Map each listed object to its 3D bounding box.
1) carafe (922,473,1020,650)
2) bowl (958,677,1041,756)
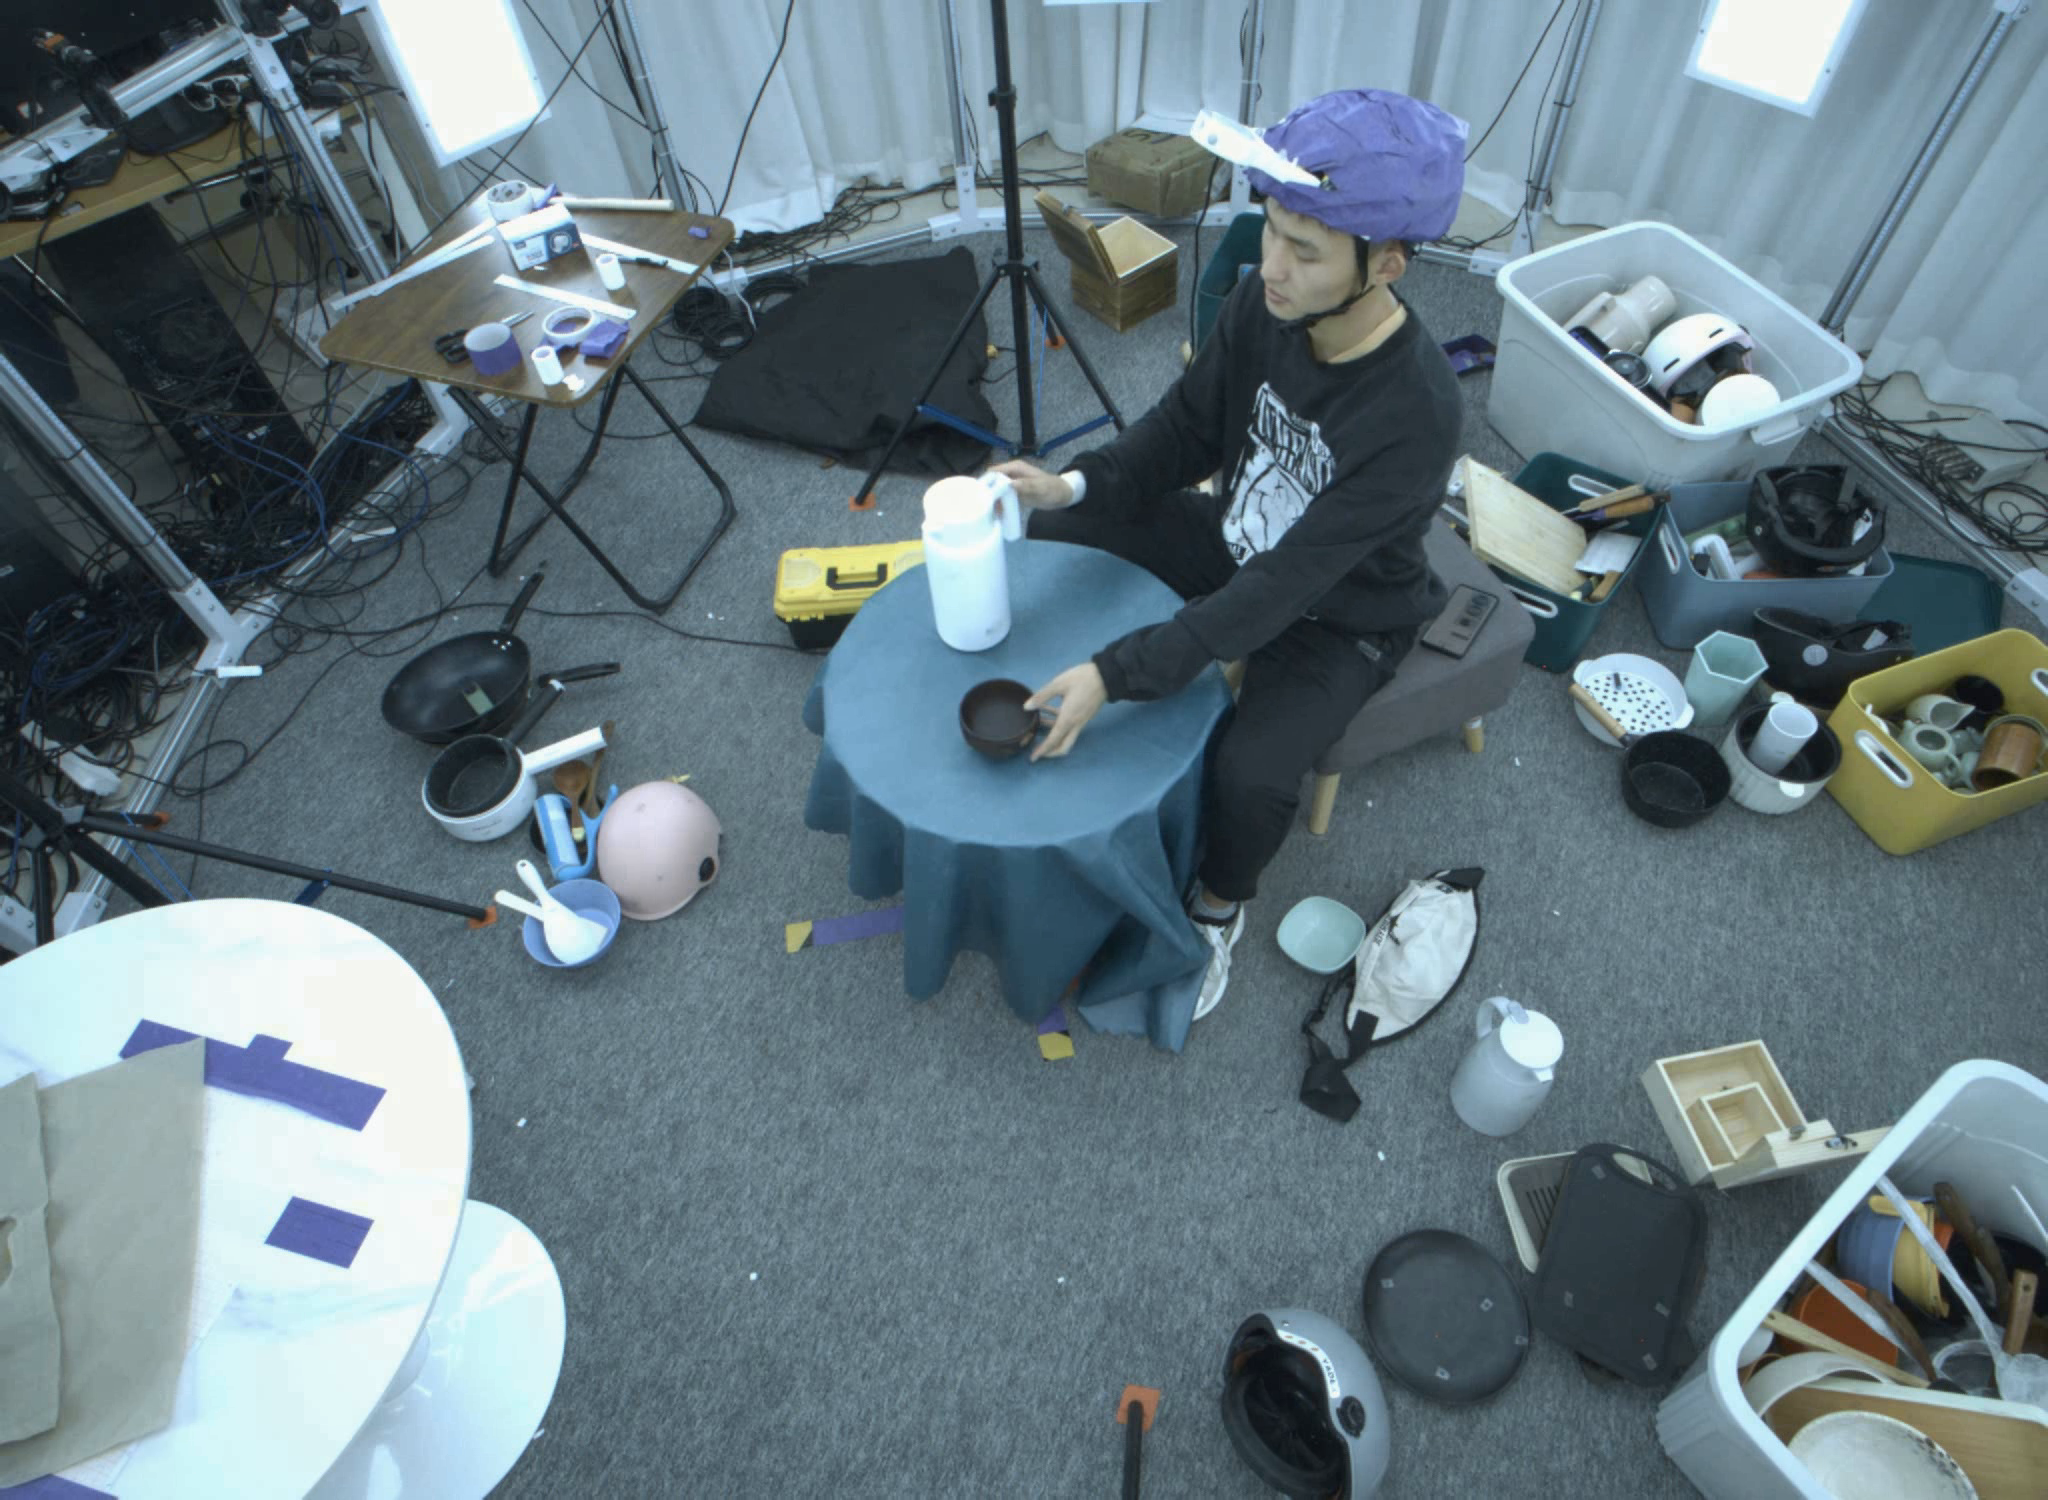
[{"bbox_3d":[-0.075,-0.285,1.824,0.121,0.272,0.174,34,63,26],"label":"carafe"},{"bbox_3d":[-0.034,-0.040,1.767,0.118,0.070,0.117,-1,54,2],"label":"bowl"}]
